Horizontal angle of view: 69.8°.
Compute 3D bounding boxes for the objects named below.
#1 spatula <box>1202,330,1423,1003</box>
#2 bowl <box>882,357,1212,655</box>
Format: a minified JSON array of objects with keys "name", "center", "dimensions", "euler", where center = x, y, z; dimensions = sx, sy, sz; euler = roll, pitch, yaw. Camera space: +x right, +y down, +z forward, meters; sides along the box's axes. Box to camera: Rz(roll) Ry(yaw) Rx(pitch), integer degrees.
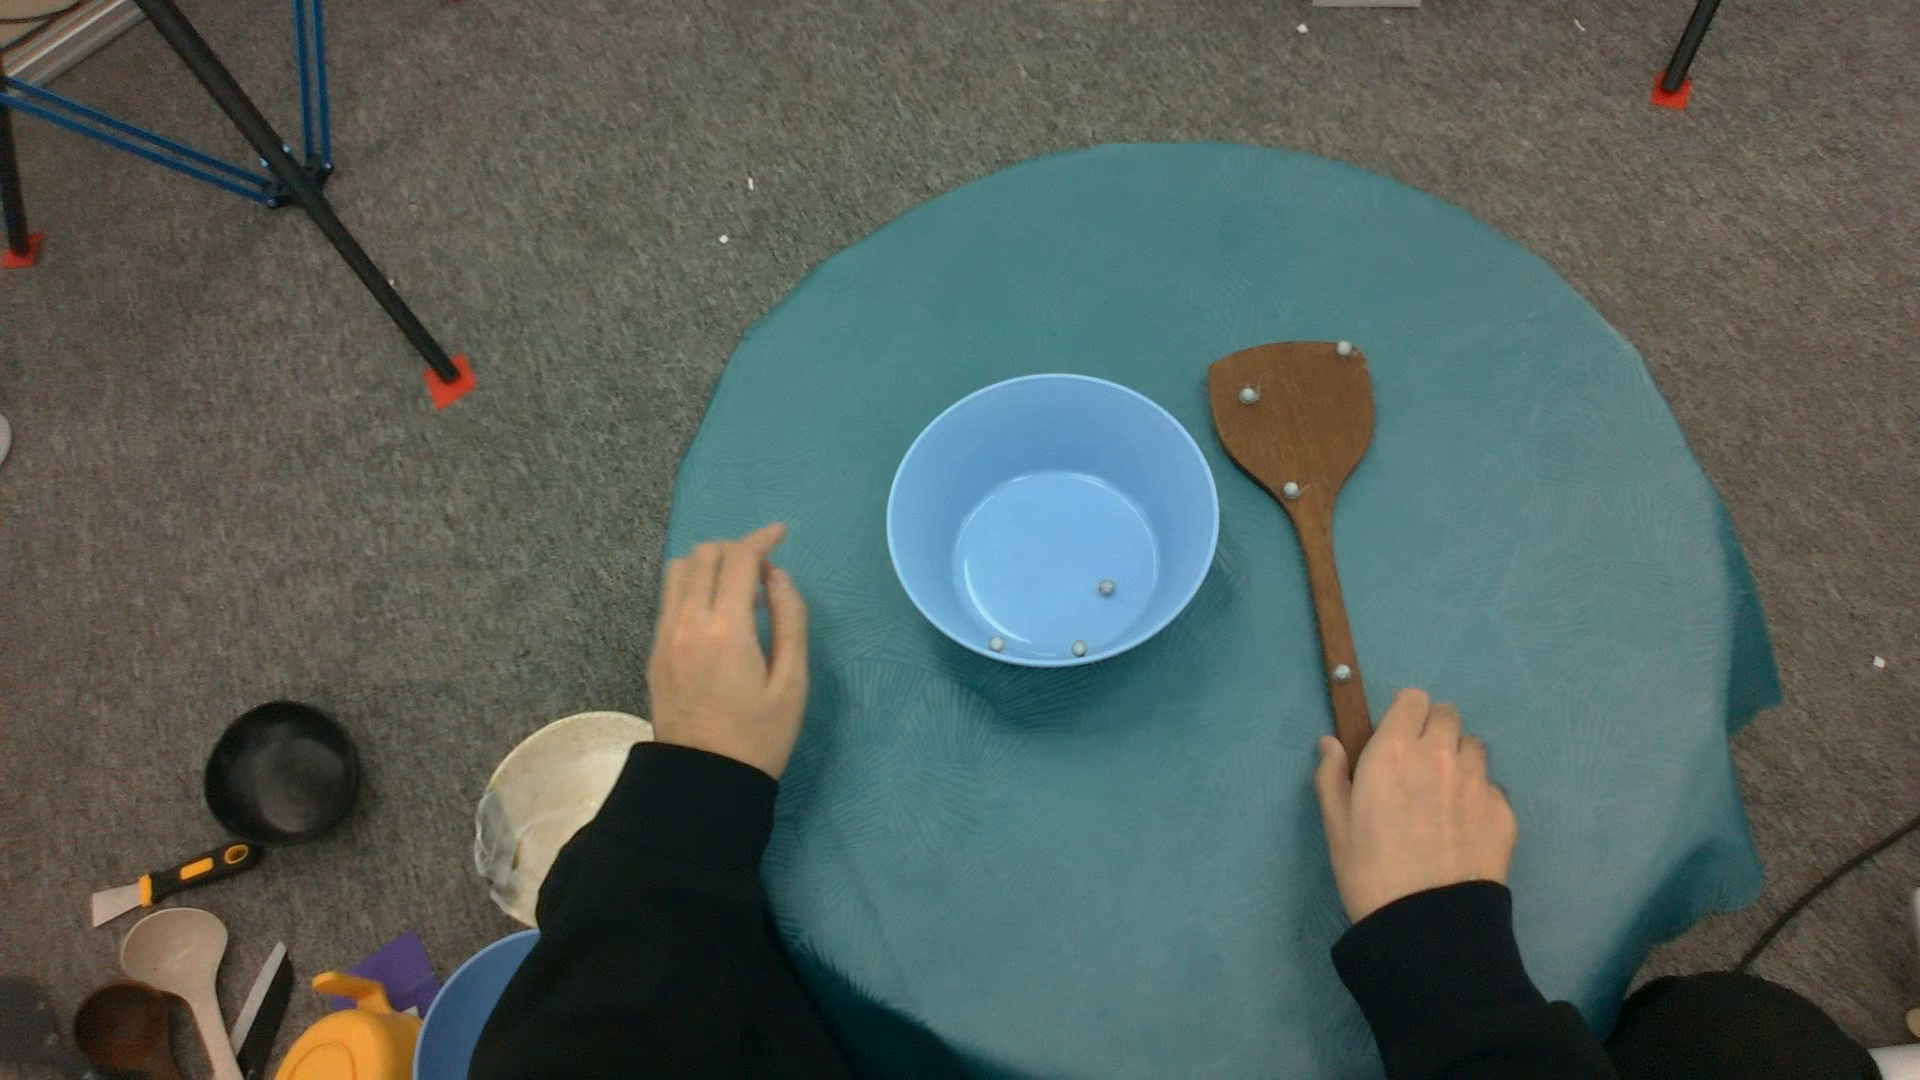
[{"name":"spatula","center":[0.200,0.048,0.744],"dimensions":[0.096,0.016,0.387],"euler":[-5,63,4]},{"name":"bowl","center":[0.048,-0.009,0.757],"dimensions":[0.176,0.070,0.176],"euler":[-2,64,5]}]
